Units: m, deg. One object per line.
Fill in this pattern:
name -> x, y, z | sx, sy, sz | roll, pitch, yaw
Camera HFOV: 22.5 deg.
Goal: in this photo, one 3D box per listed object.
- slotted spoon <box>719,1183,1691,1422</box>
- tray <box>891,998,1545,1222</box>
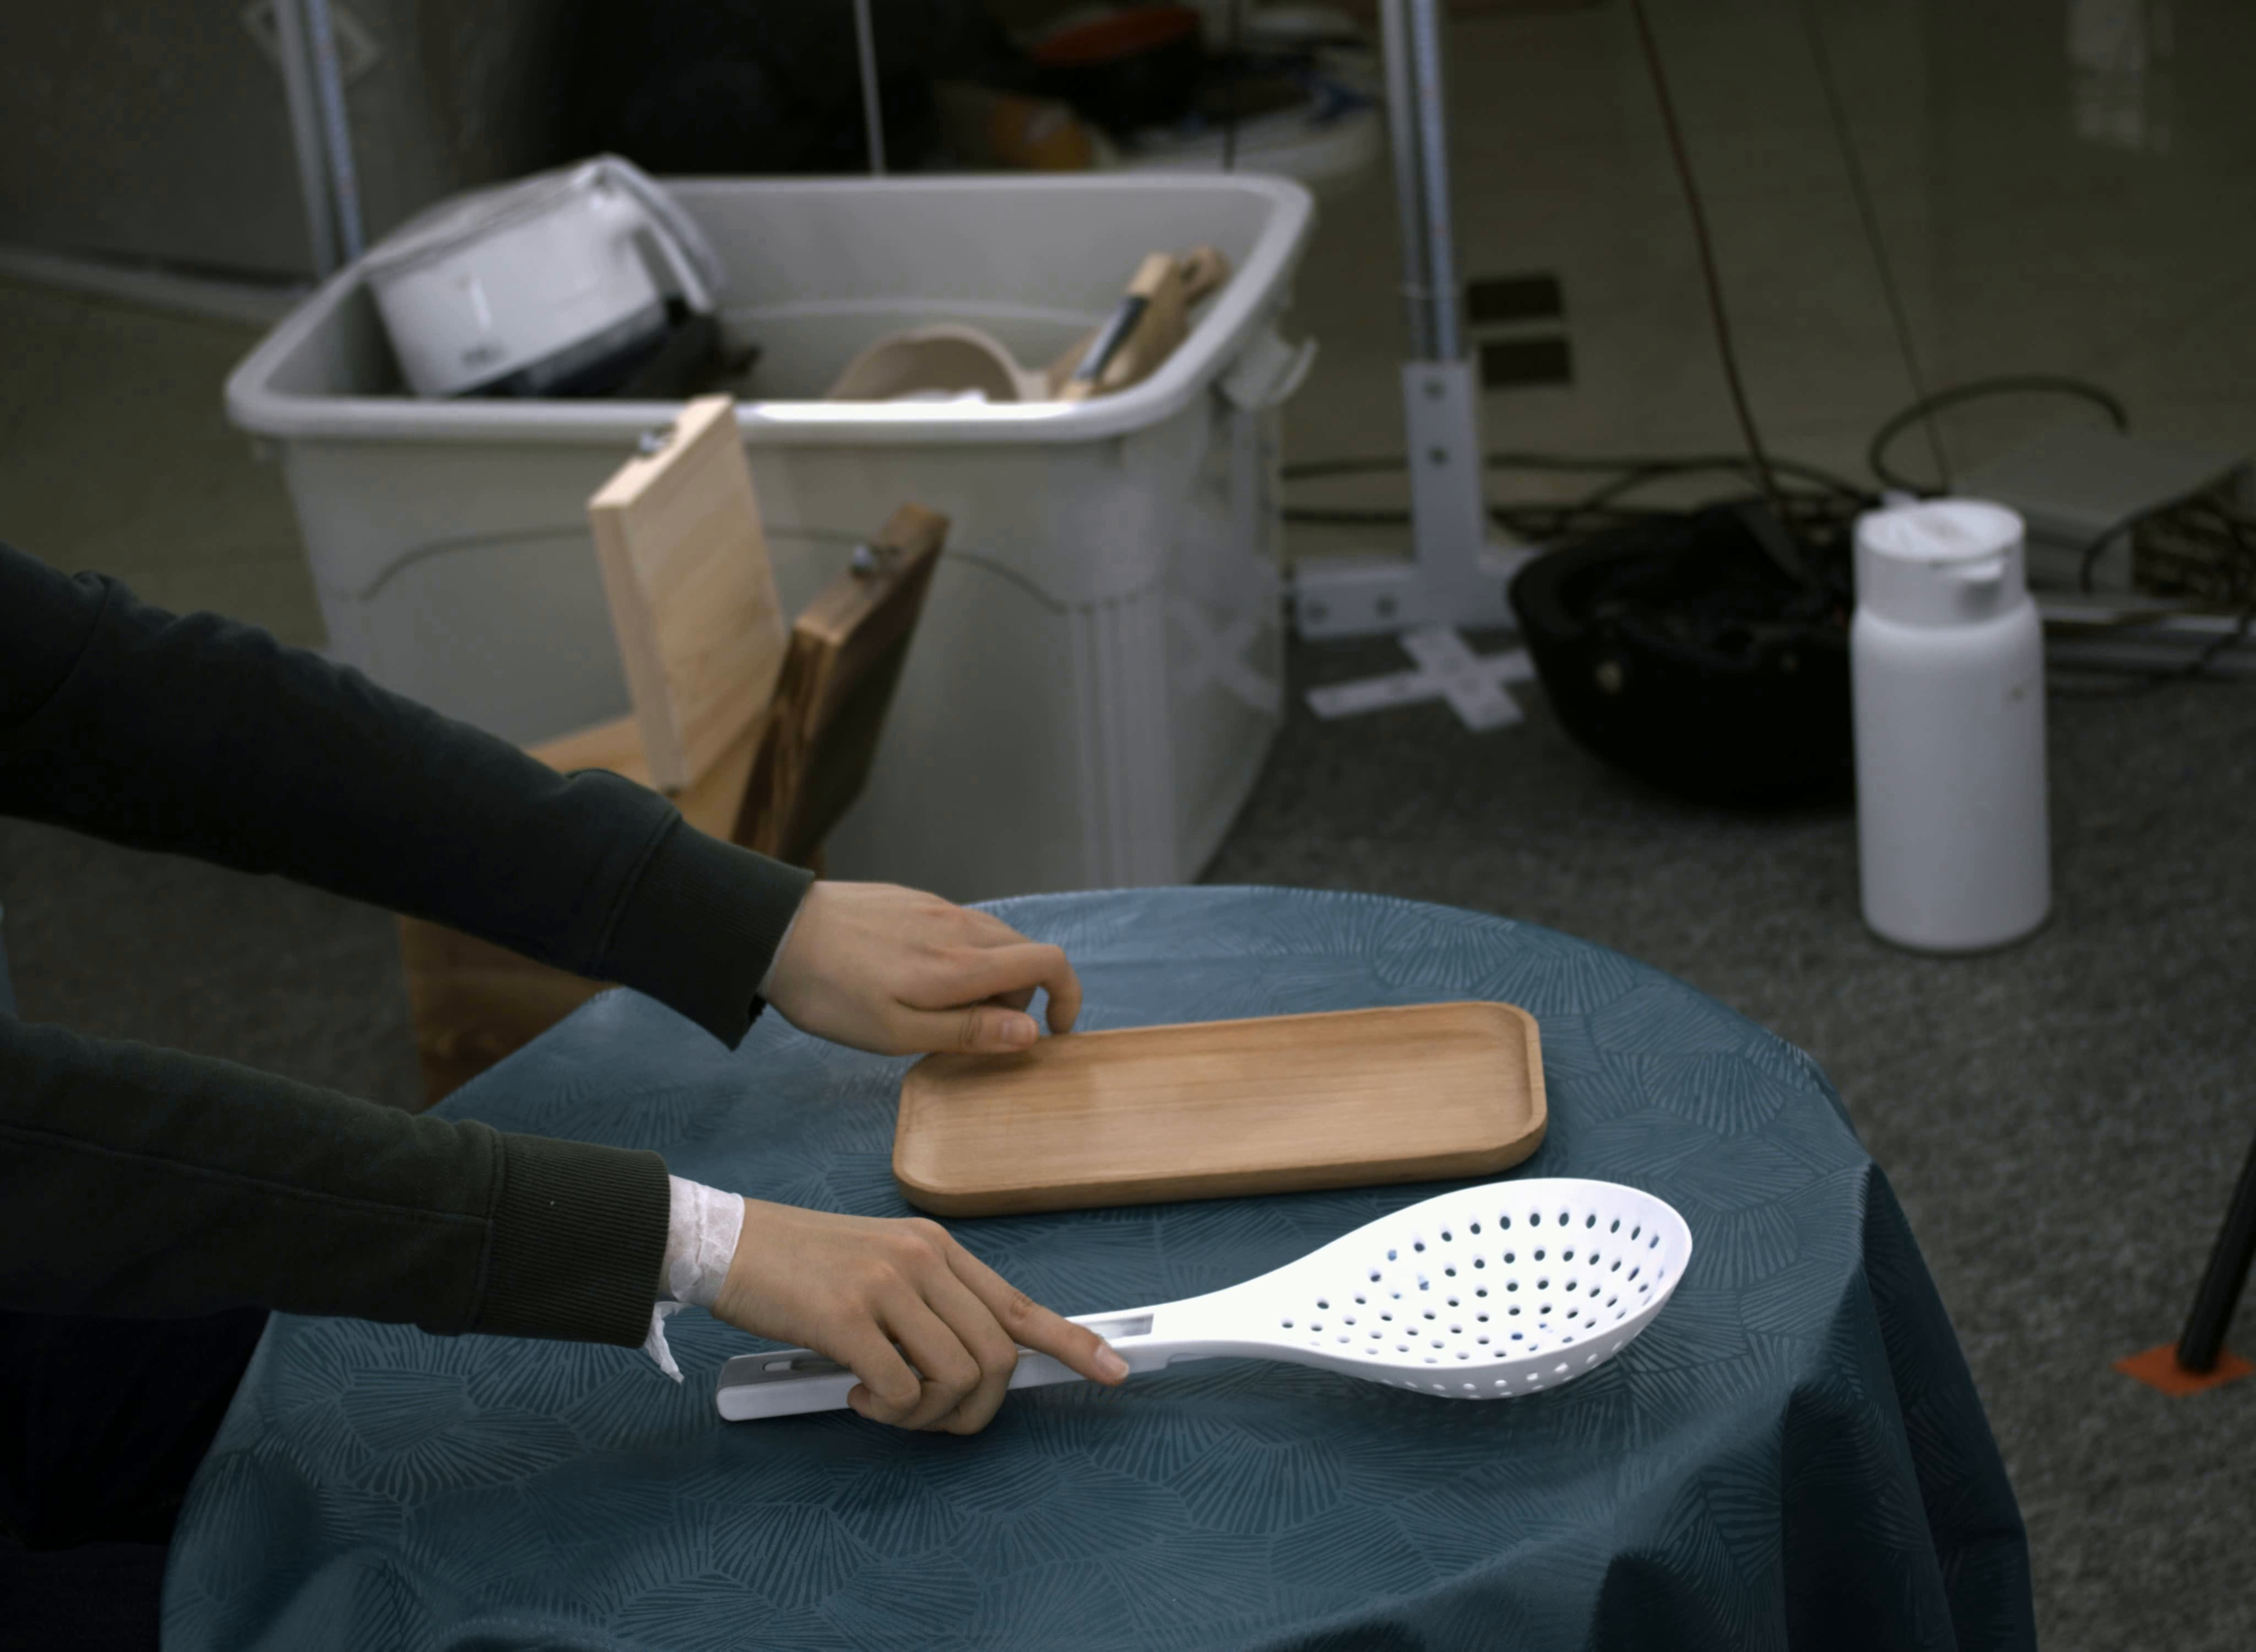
slotted spoon -> 0.026, 0.178, 2.008 | 0.349, 0.046, 0.134 | -4, 22, 7
tray -> 0.035, 0.110, 2.188 | 0.250, 0.023, 0.129 | -5, 23, 4
